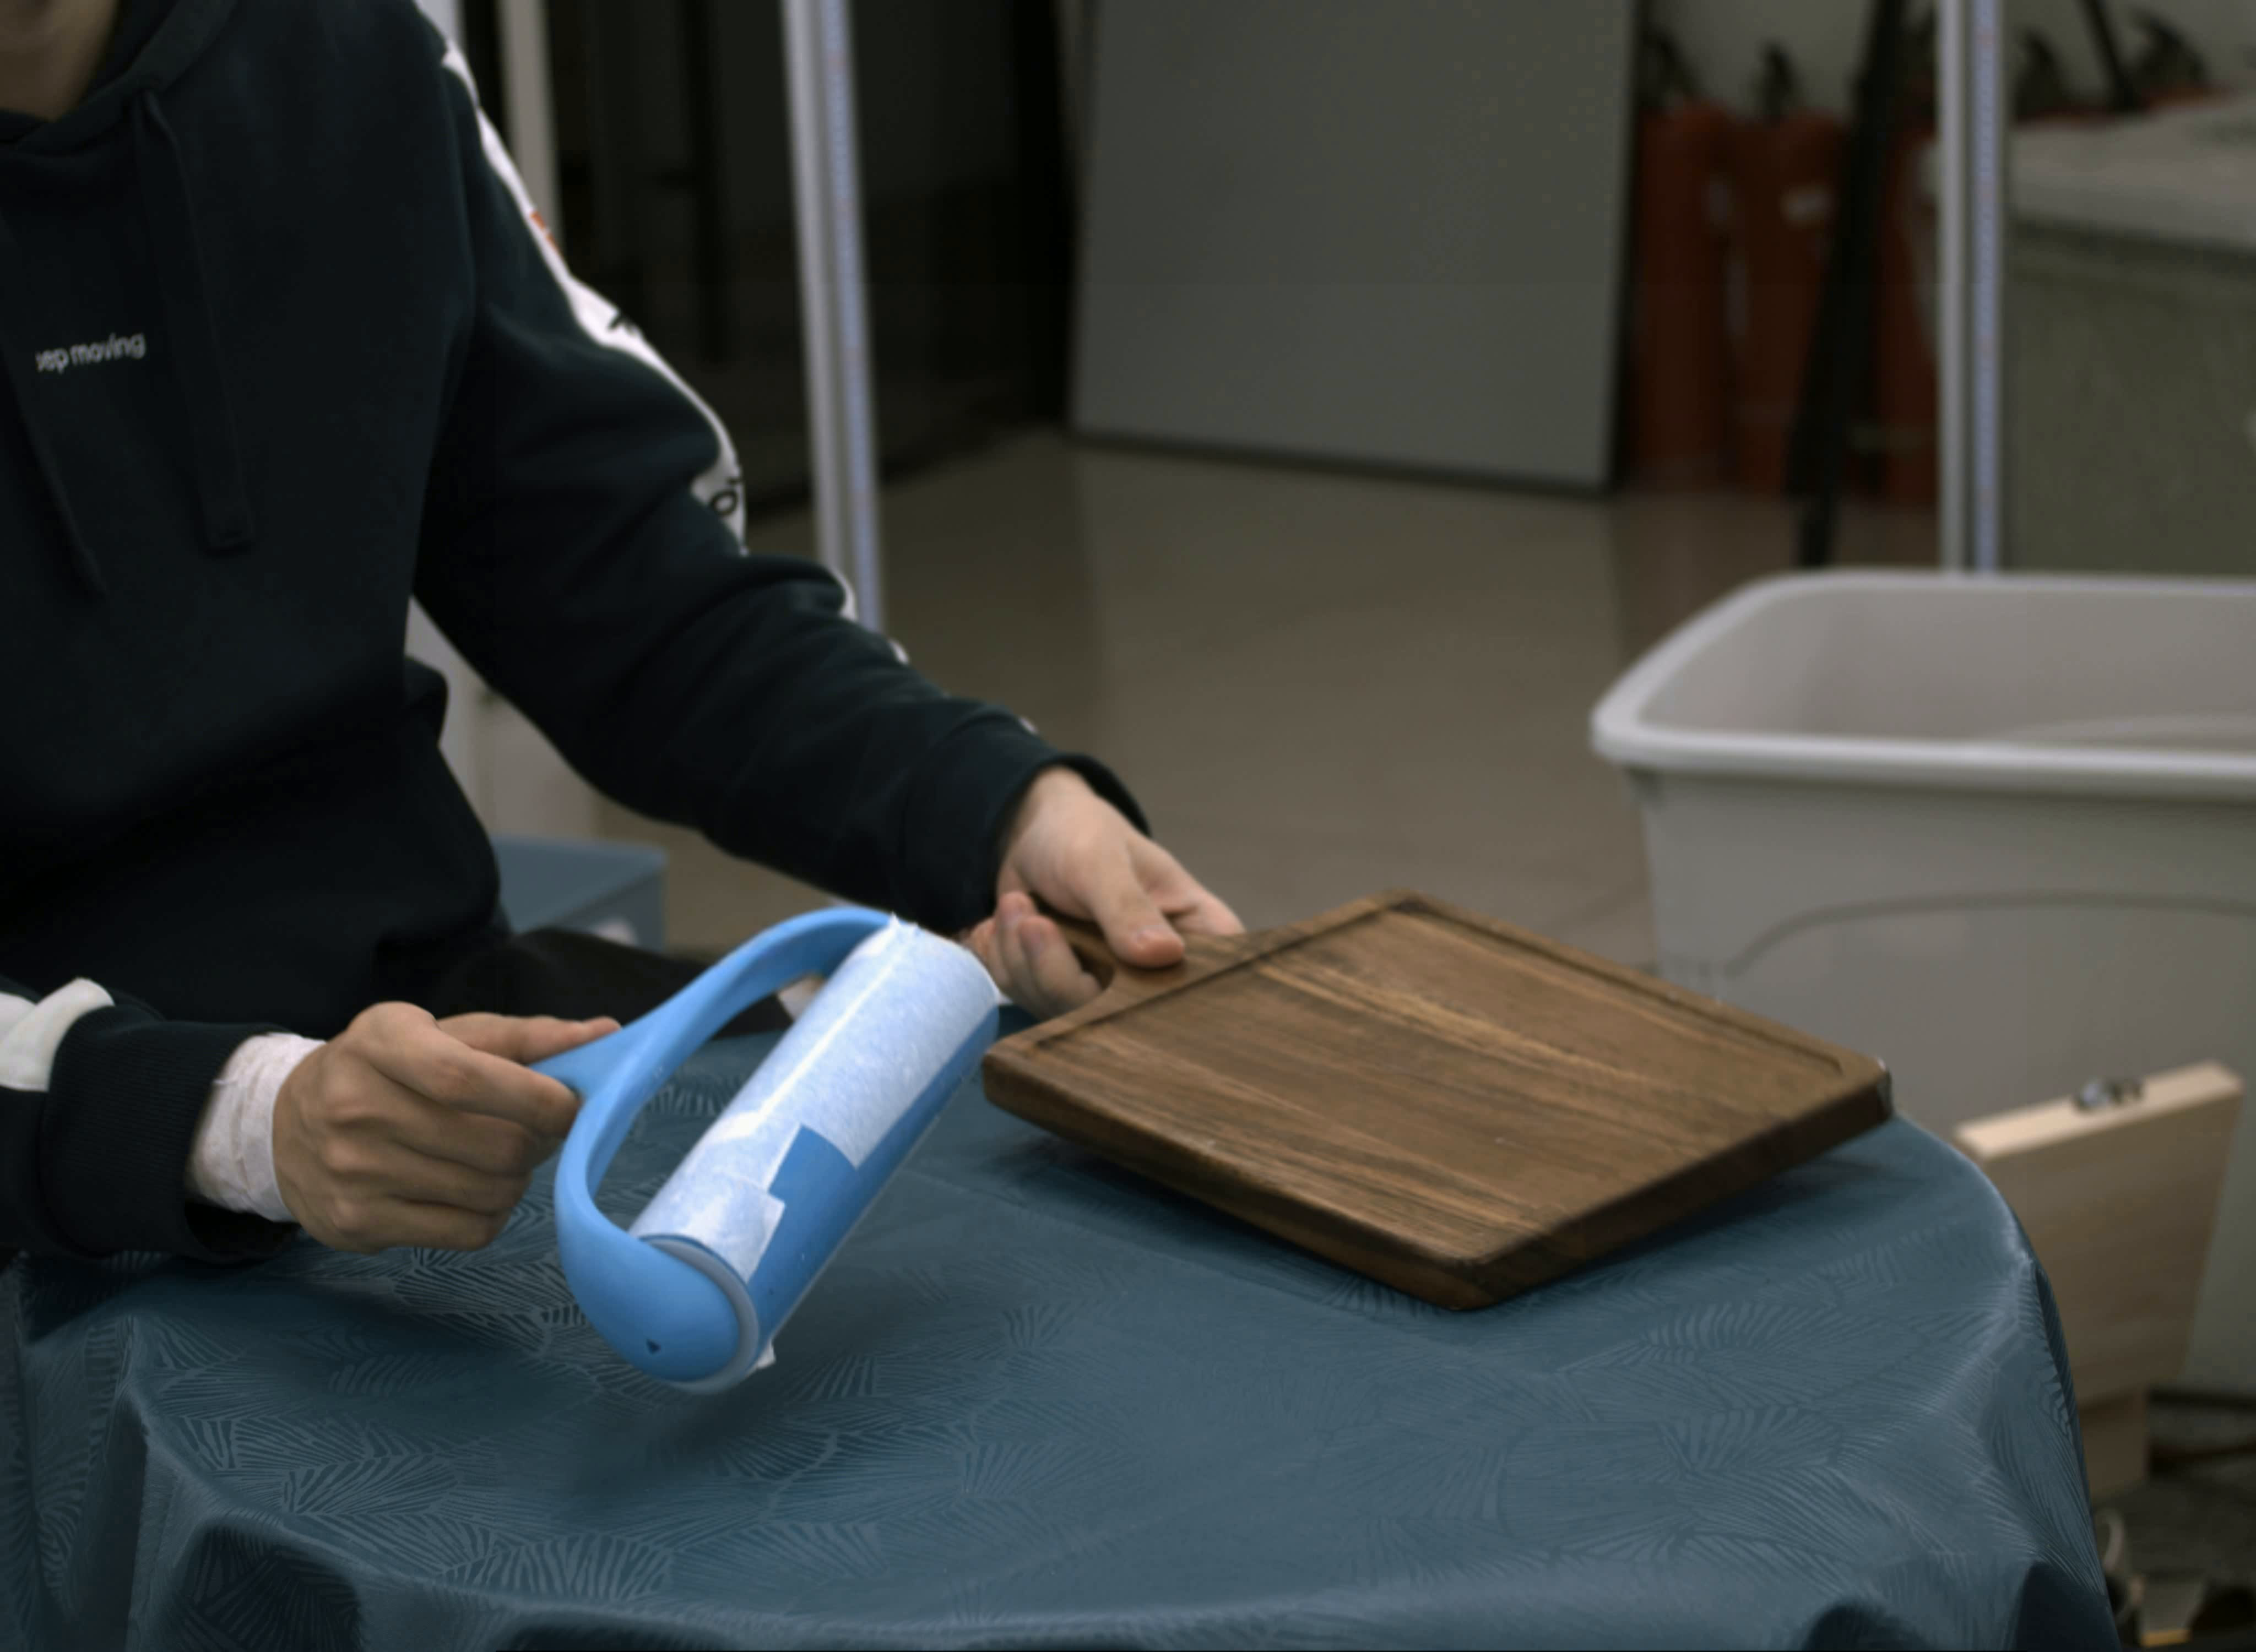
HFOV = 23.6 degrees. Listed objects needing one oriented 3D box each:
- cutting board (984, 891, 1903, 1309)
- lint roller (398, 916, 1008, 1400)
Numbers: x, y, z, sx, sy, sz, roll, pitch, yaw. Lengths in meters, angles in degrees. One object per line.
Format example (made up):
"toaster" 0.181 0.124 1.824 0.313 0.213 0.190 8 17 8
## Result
"cutting board" 0.071 0.074 1.811 0.197 0.023 0.356 -18 24 -34
"lint roller" -0.149 0.100 1.649 0.180 0.068 0.227 -1 27 21
